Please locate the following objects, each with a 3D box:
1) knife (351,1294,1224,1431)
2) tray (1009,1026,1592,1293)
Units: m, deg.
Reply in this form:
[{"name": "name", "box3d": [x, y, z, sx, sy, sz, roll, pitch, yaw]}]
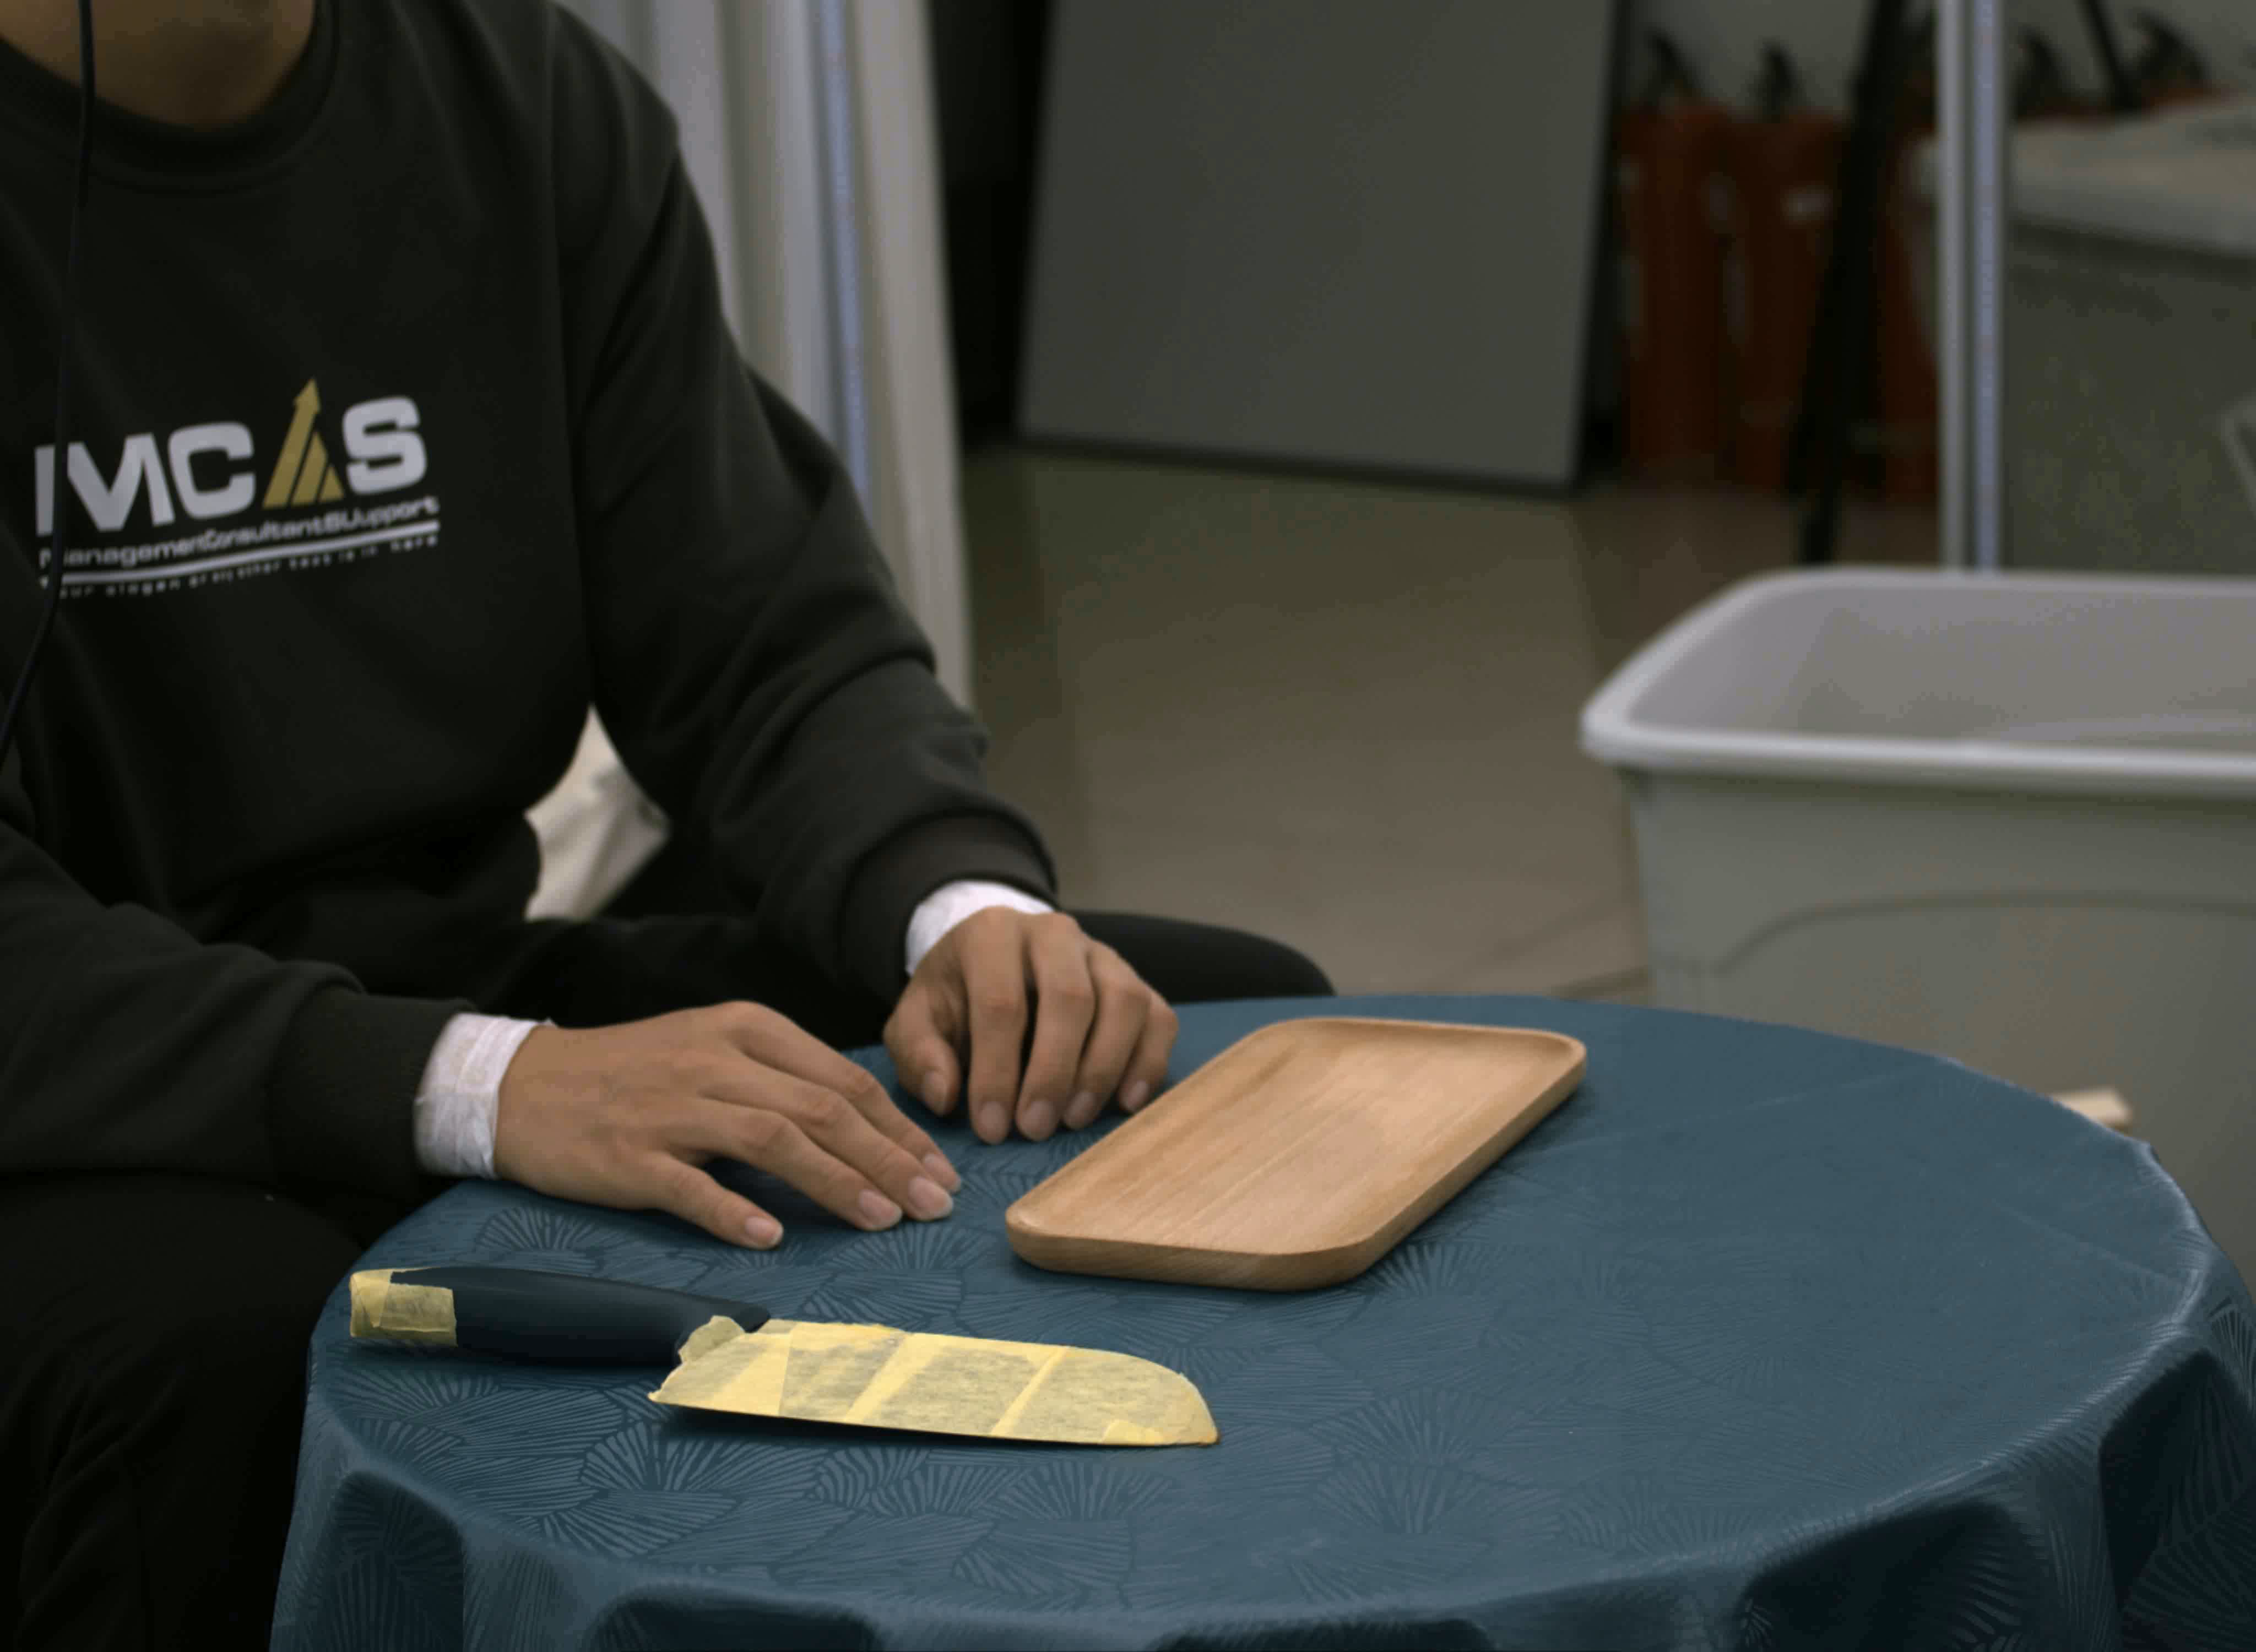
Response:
[{"name": "knife", "box3d": [-0.107, 0.163, 1.605, 0.289, 0.027, 0.080, 2, 13, 21]}, {"name": "tray", "box3d": [0.061, 0.108, 1.779, 0.131, 0.023, 0.247, -1, 14, 26]}]
